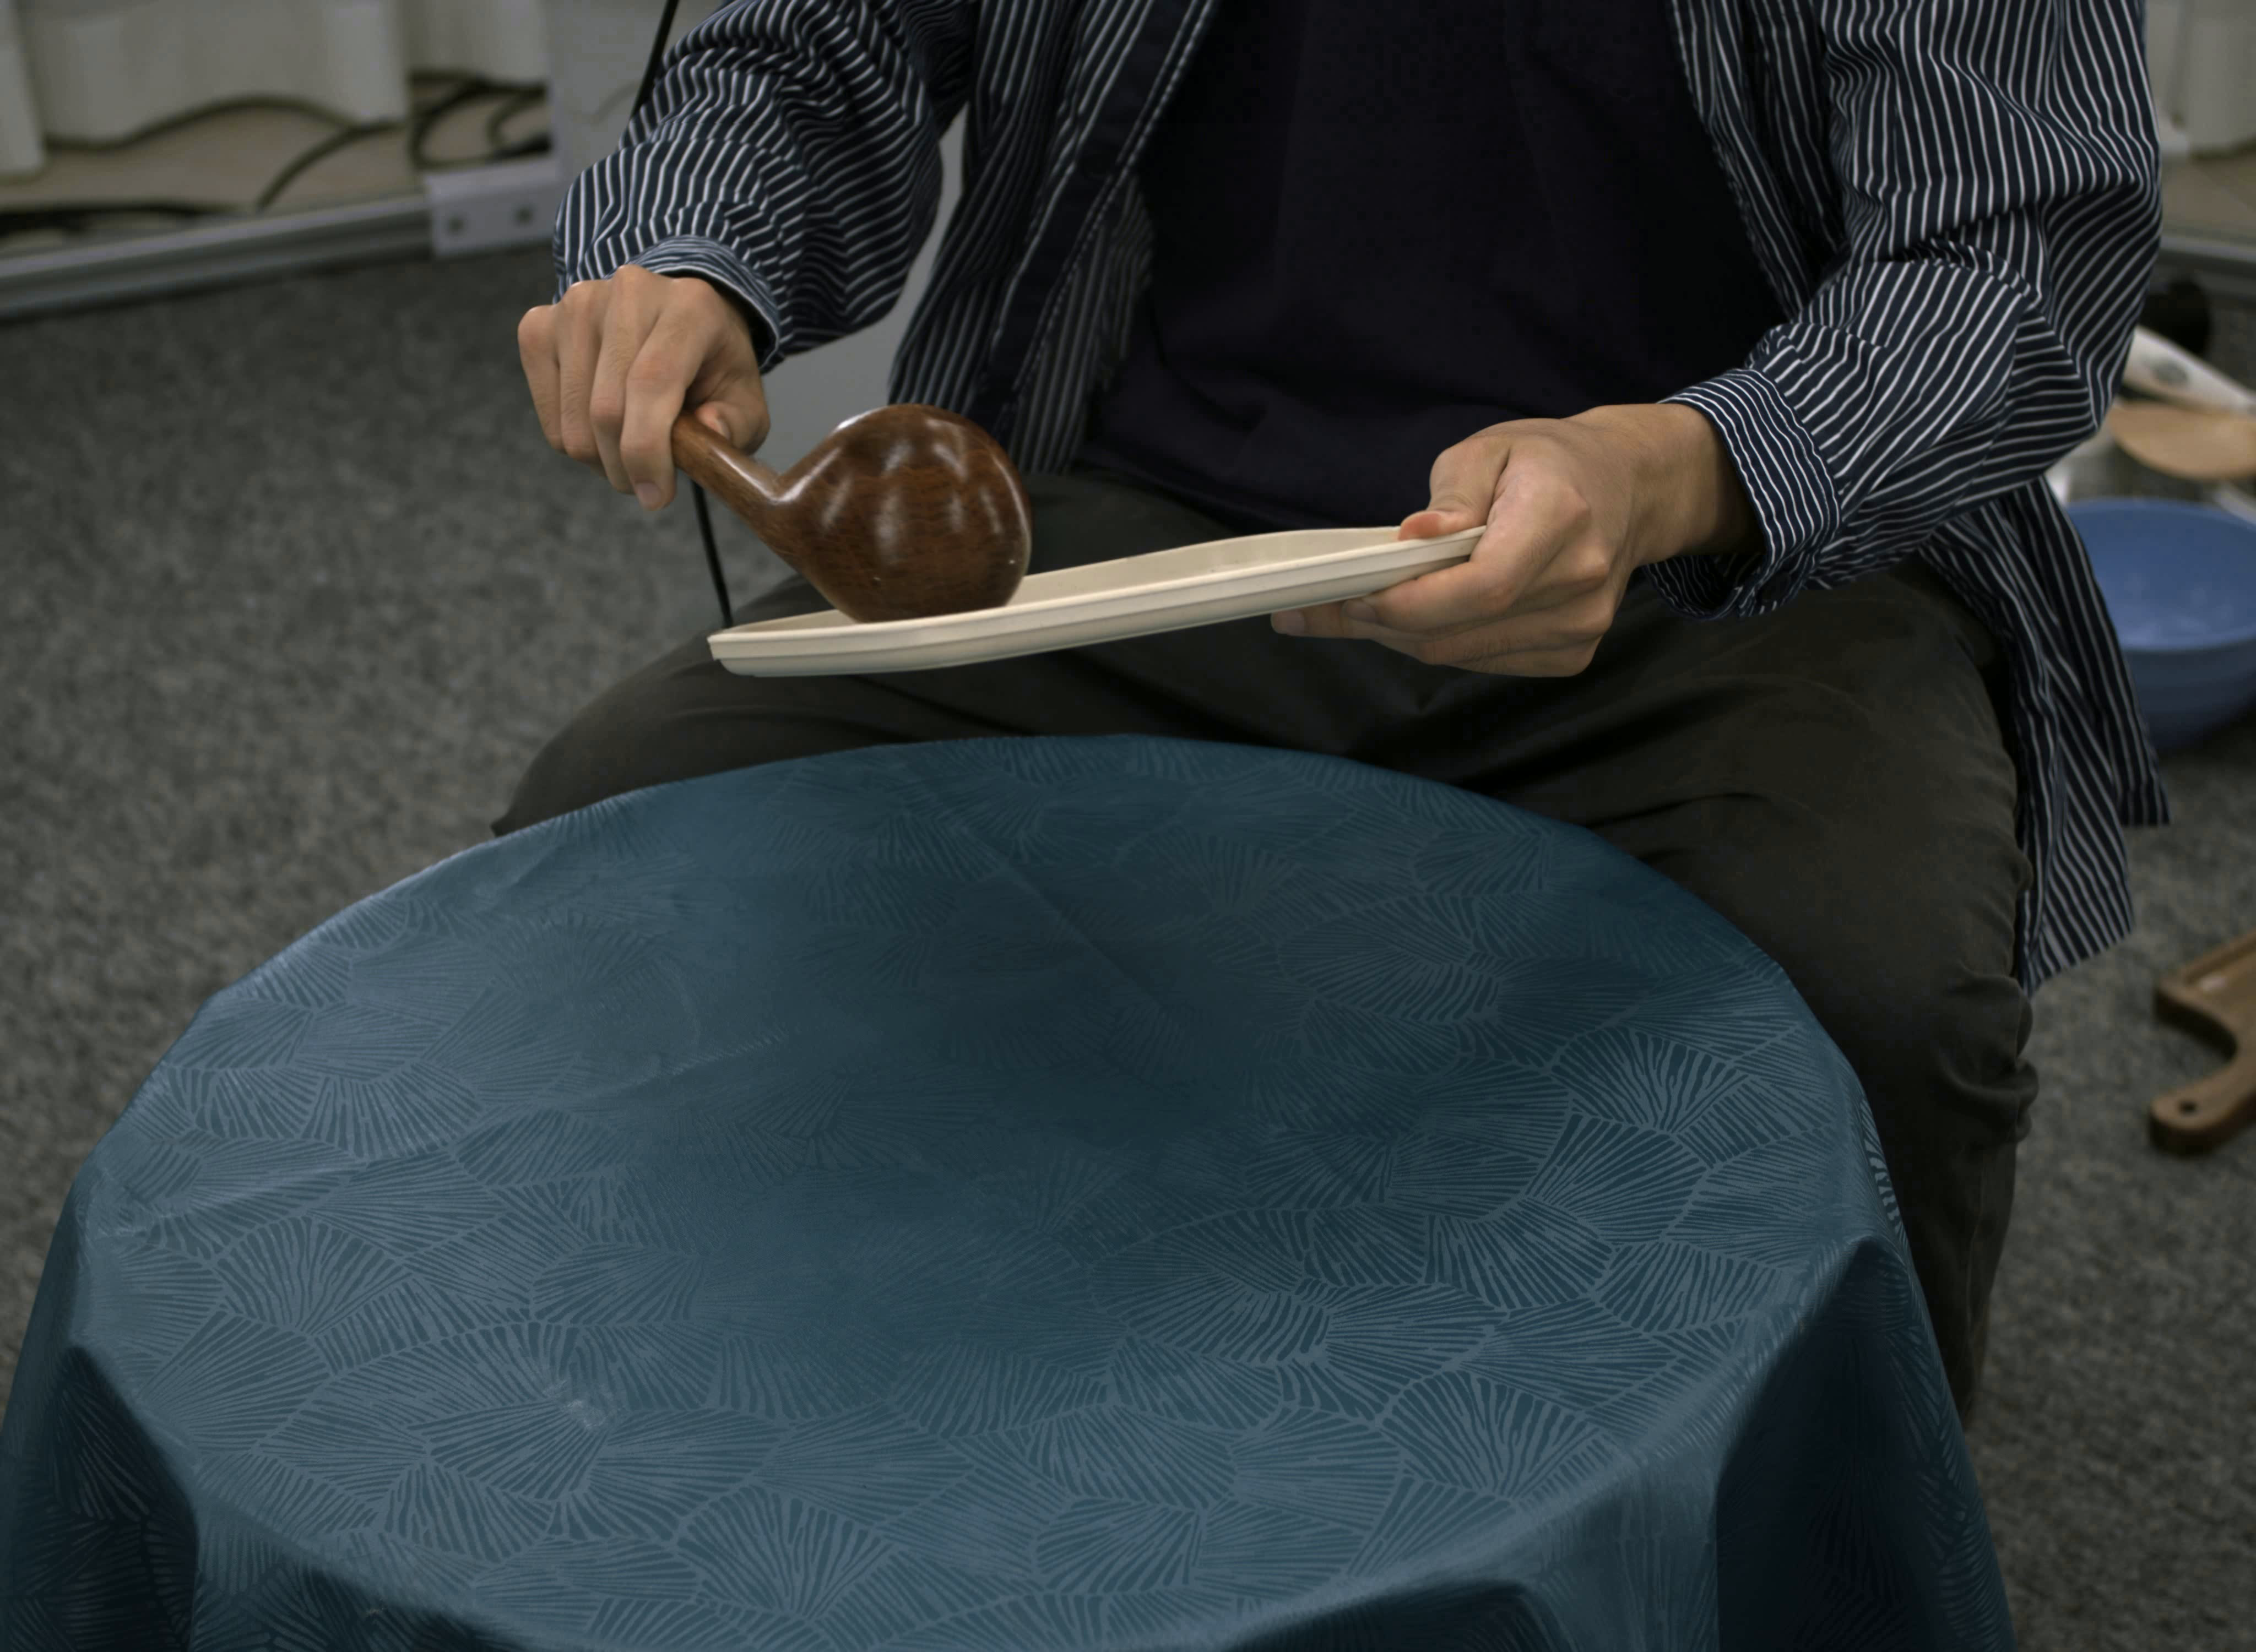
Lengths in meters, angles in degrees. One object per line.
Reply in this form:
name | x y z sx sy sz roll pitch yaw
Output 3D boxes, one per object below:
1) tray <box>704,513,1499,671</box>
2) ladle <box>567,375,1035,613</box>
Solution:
tray | -0.008 -0.076 1.868 0.241 0.017 0.170 -11 6 -31
ladle | -0.114 -0.127 1.935 0.077 0.081 0.274 -1 13 -24
